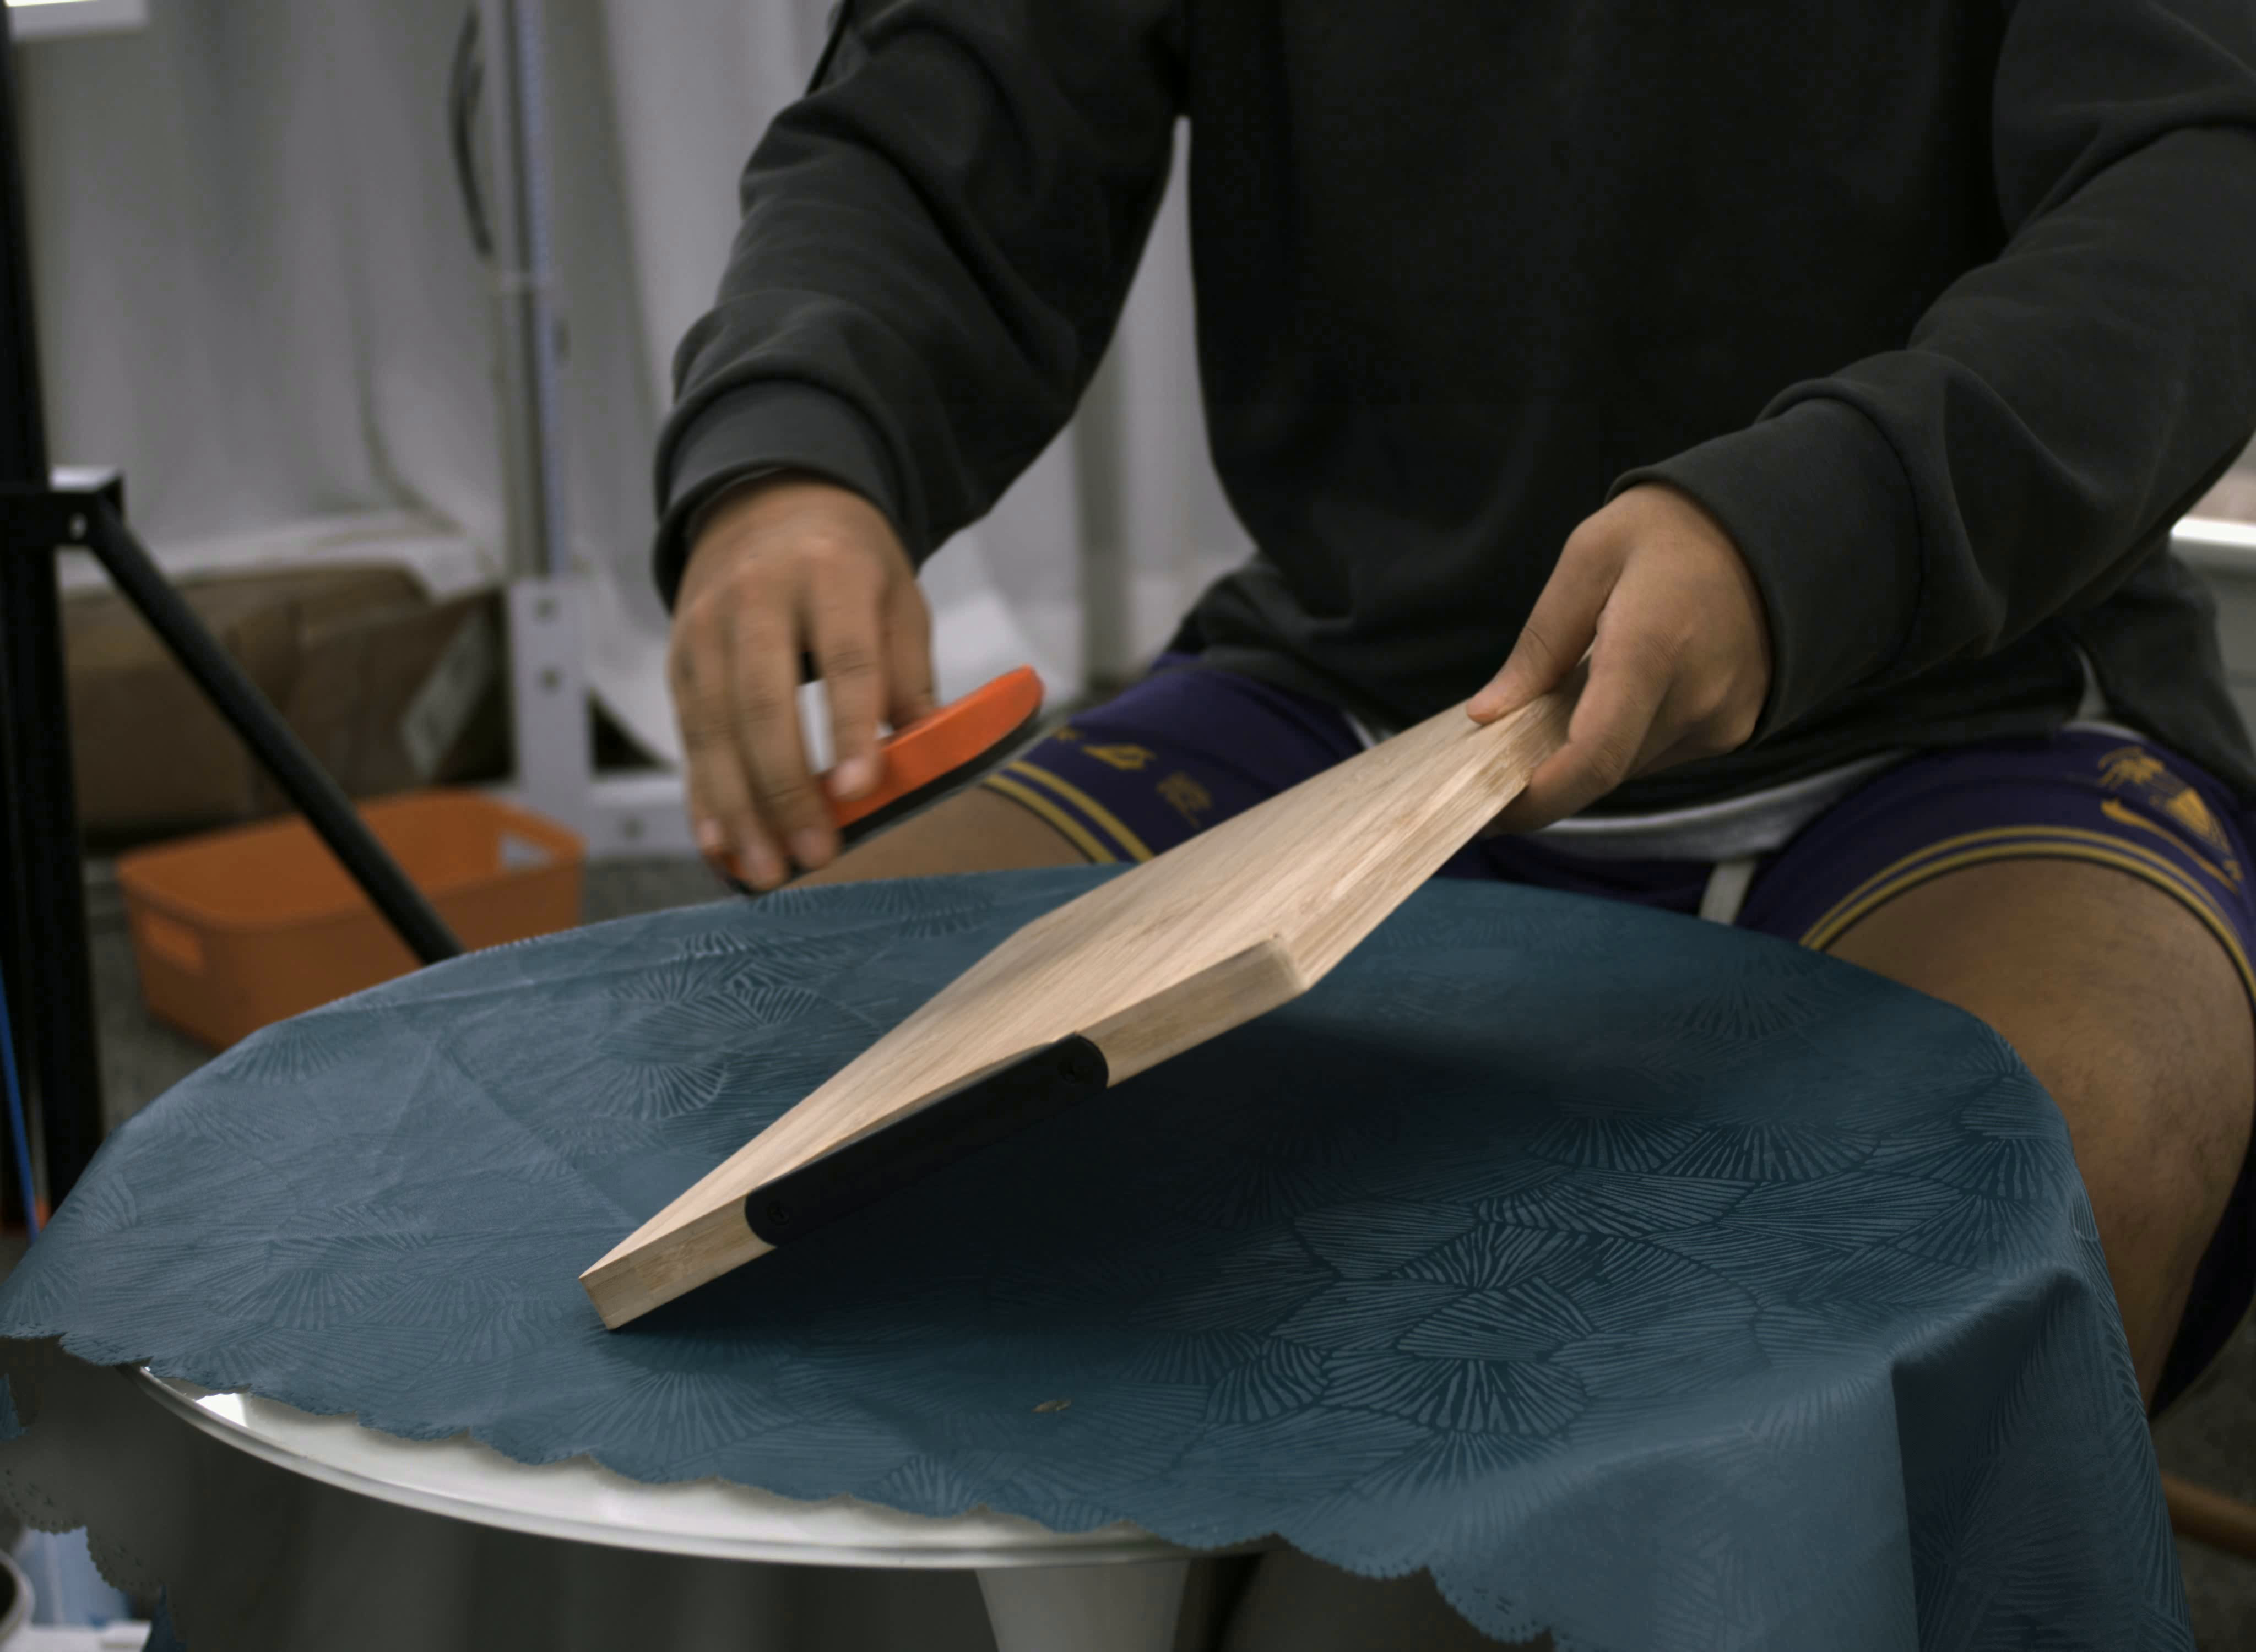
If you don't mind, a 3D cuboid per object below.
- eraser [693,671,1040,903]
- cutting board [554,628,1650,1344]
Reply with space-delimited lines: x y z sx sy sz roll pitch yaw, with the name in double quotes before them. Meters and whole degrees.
"eraser" -0.081 -0.012 1.650 0.109 0.023 0.058 -26 6 34
"cutting board" 0.004 0.041 1.560 0.253 0.023 0.344 -27 5 26
